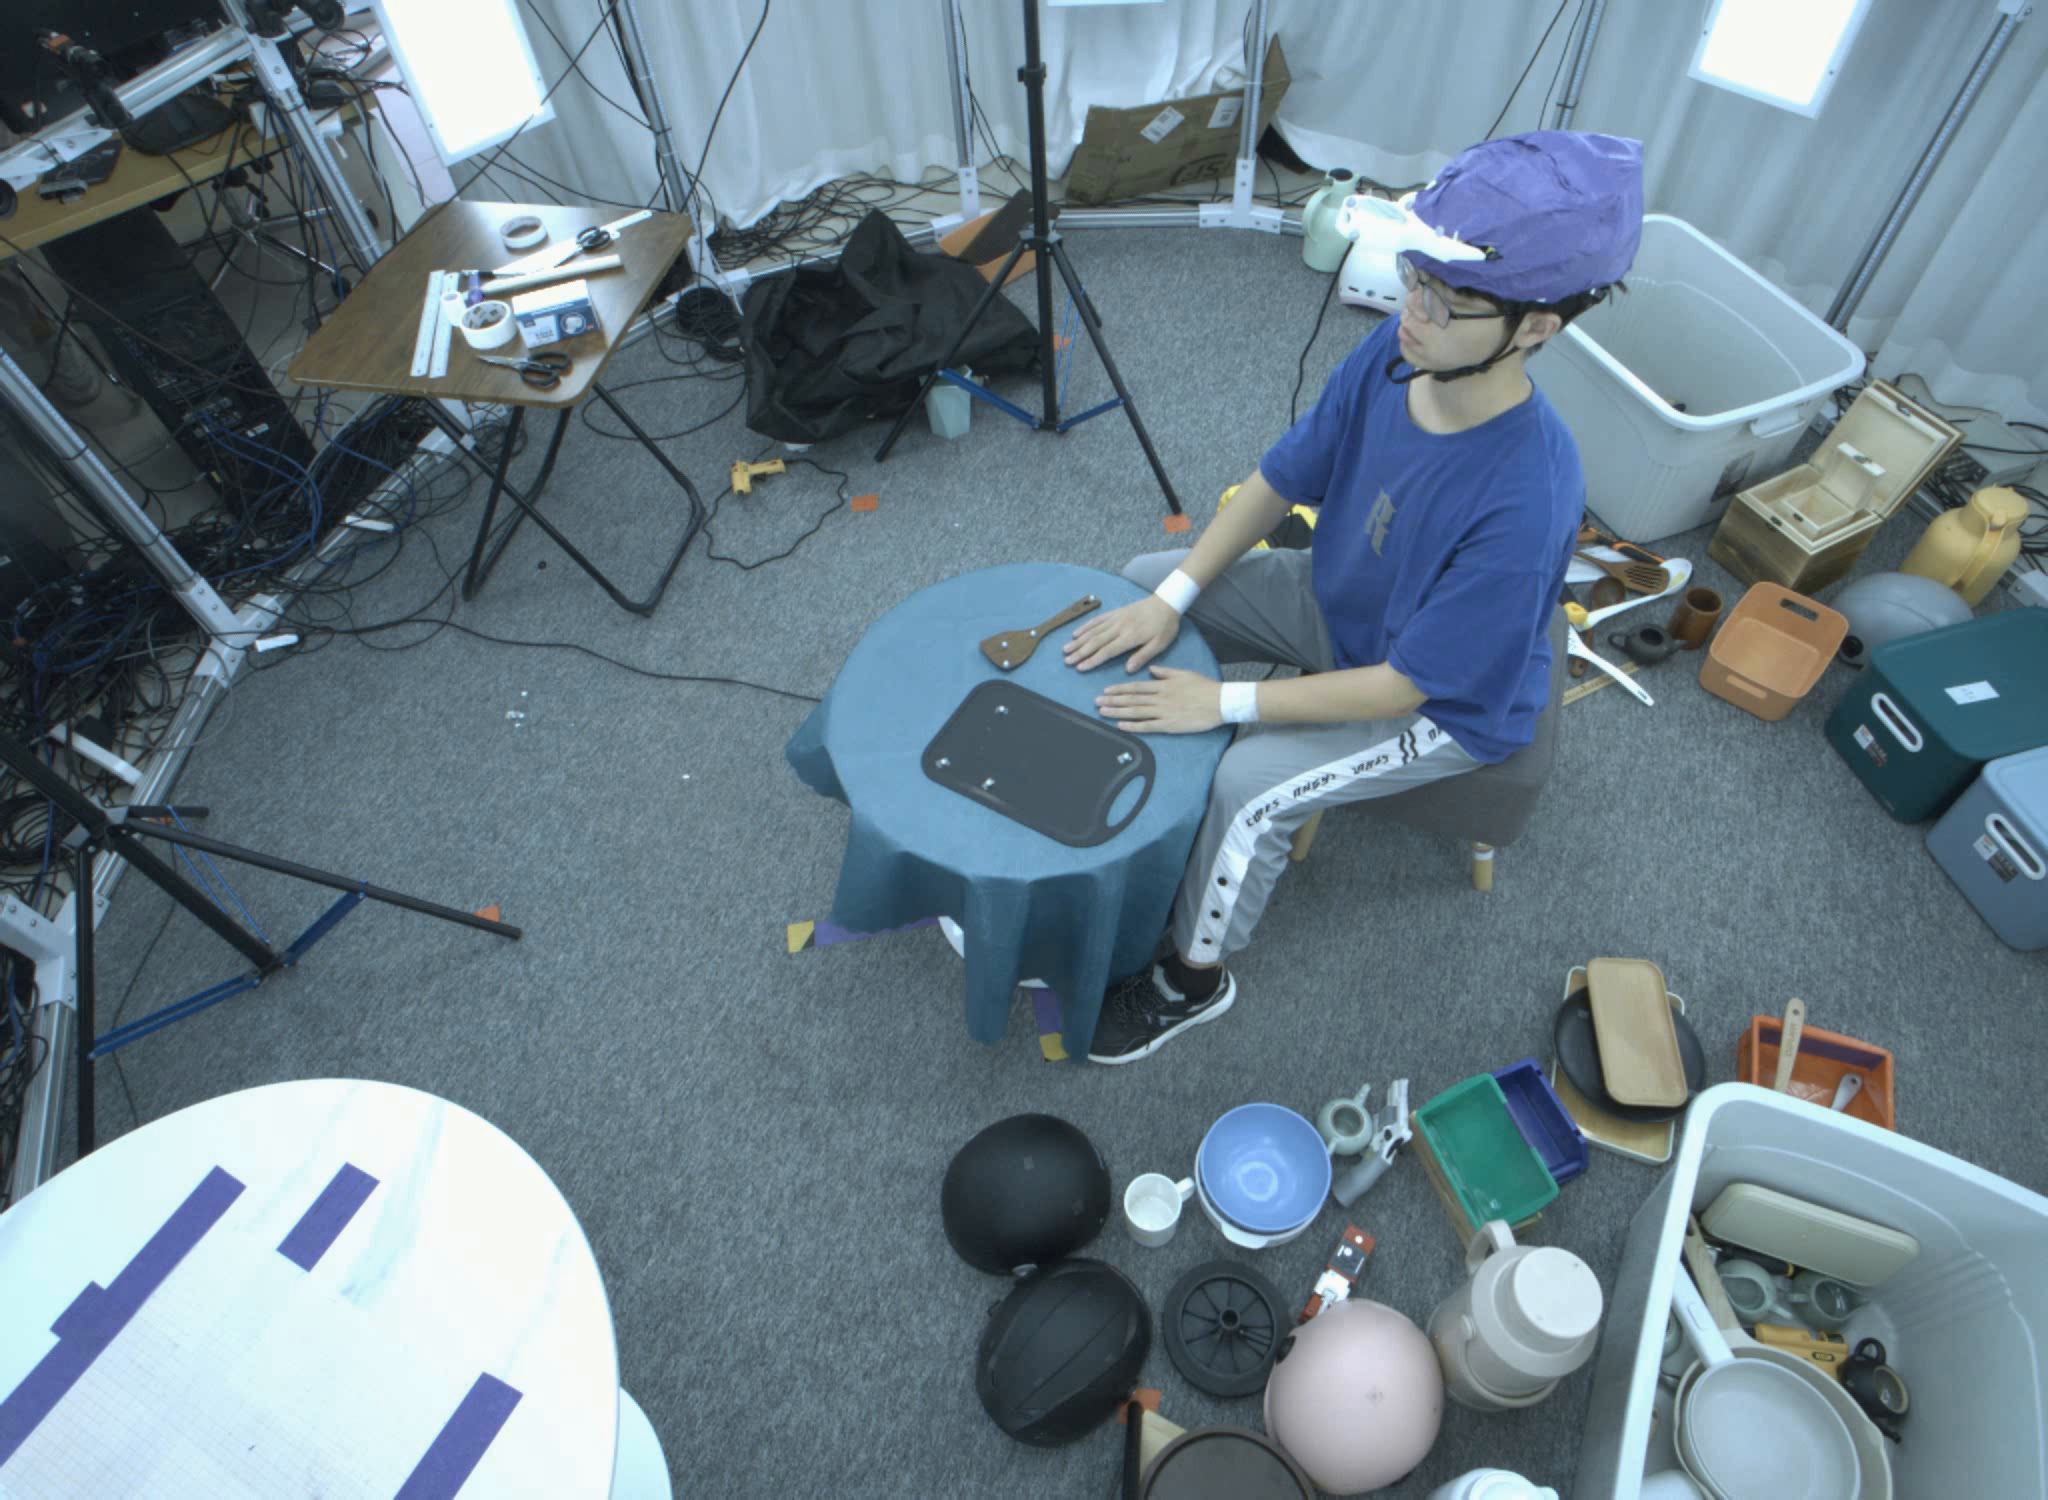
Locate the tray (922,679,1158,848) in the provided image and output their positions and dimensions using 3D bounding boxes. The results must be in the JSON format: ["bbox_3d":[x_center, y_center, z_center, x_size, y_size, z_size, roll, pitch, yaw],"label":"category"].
[{"bbox_3d":[0.028,0.016,1.762,0.321,0.010,0.212,25,59,19],"label":"tray"}]

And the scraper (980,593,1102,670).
[{"bbox_3d":[0.032,-0.190,1.908,0.213,0.011,0.074,-31,59,-19],"label":"scraper"}]
